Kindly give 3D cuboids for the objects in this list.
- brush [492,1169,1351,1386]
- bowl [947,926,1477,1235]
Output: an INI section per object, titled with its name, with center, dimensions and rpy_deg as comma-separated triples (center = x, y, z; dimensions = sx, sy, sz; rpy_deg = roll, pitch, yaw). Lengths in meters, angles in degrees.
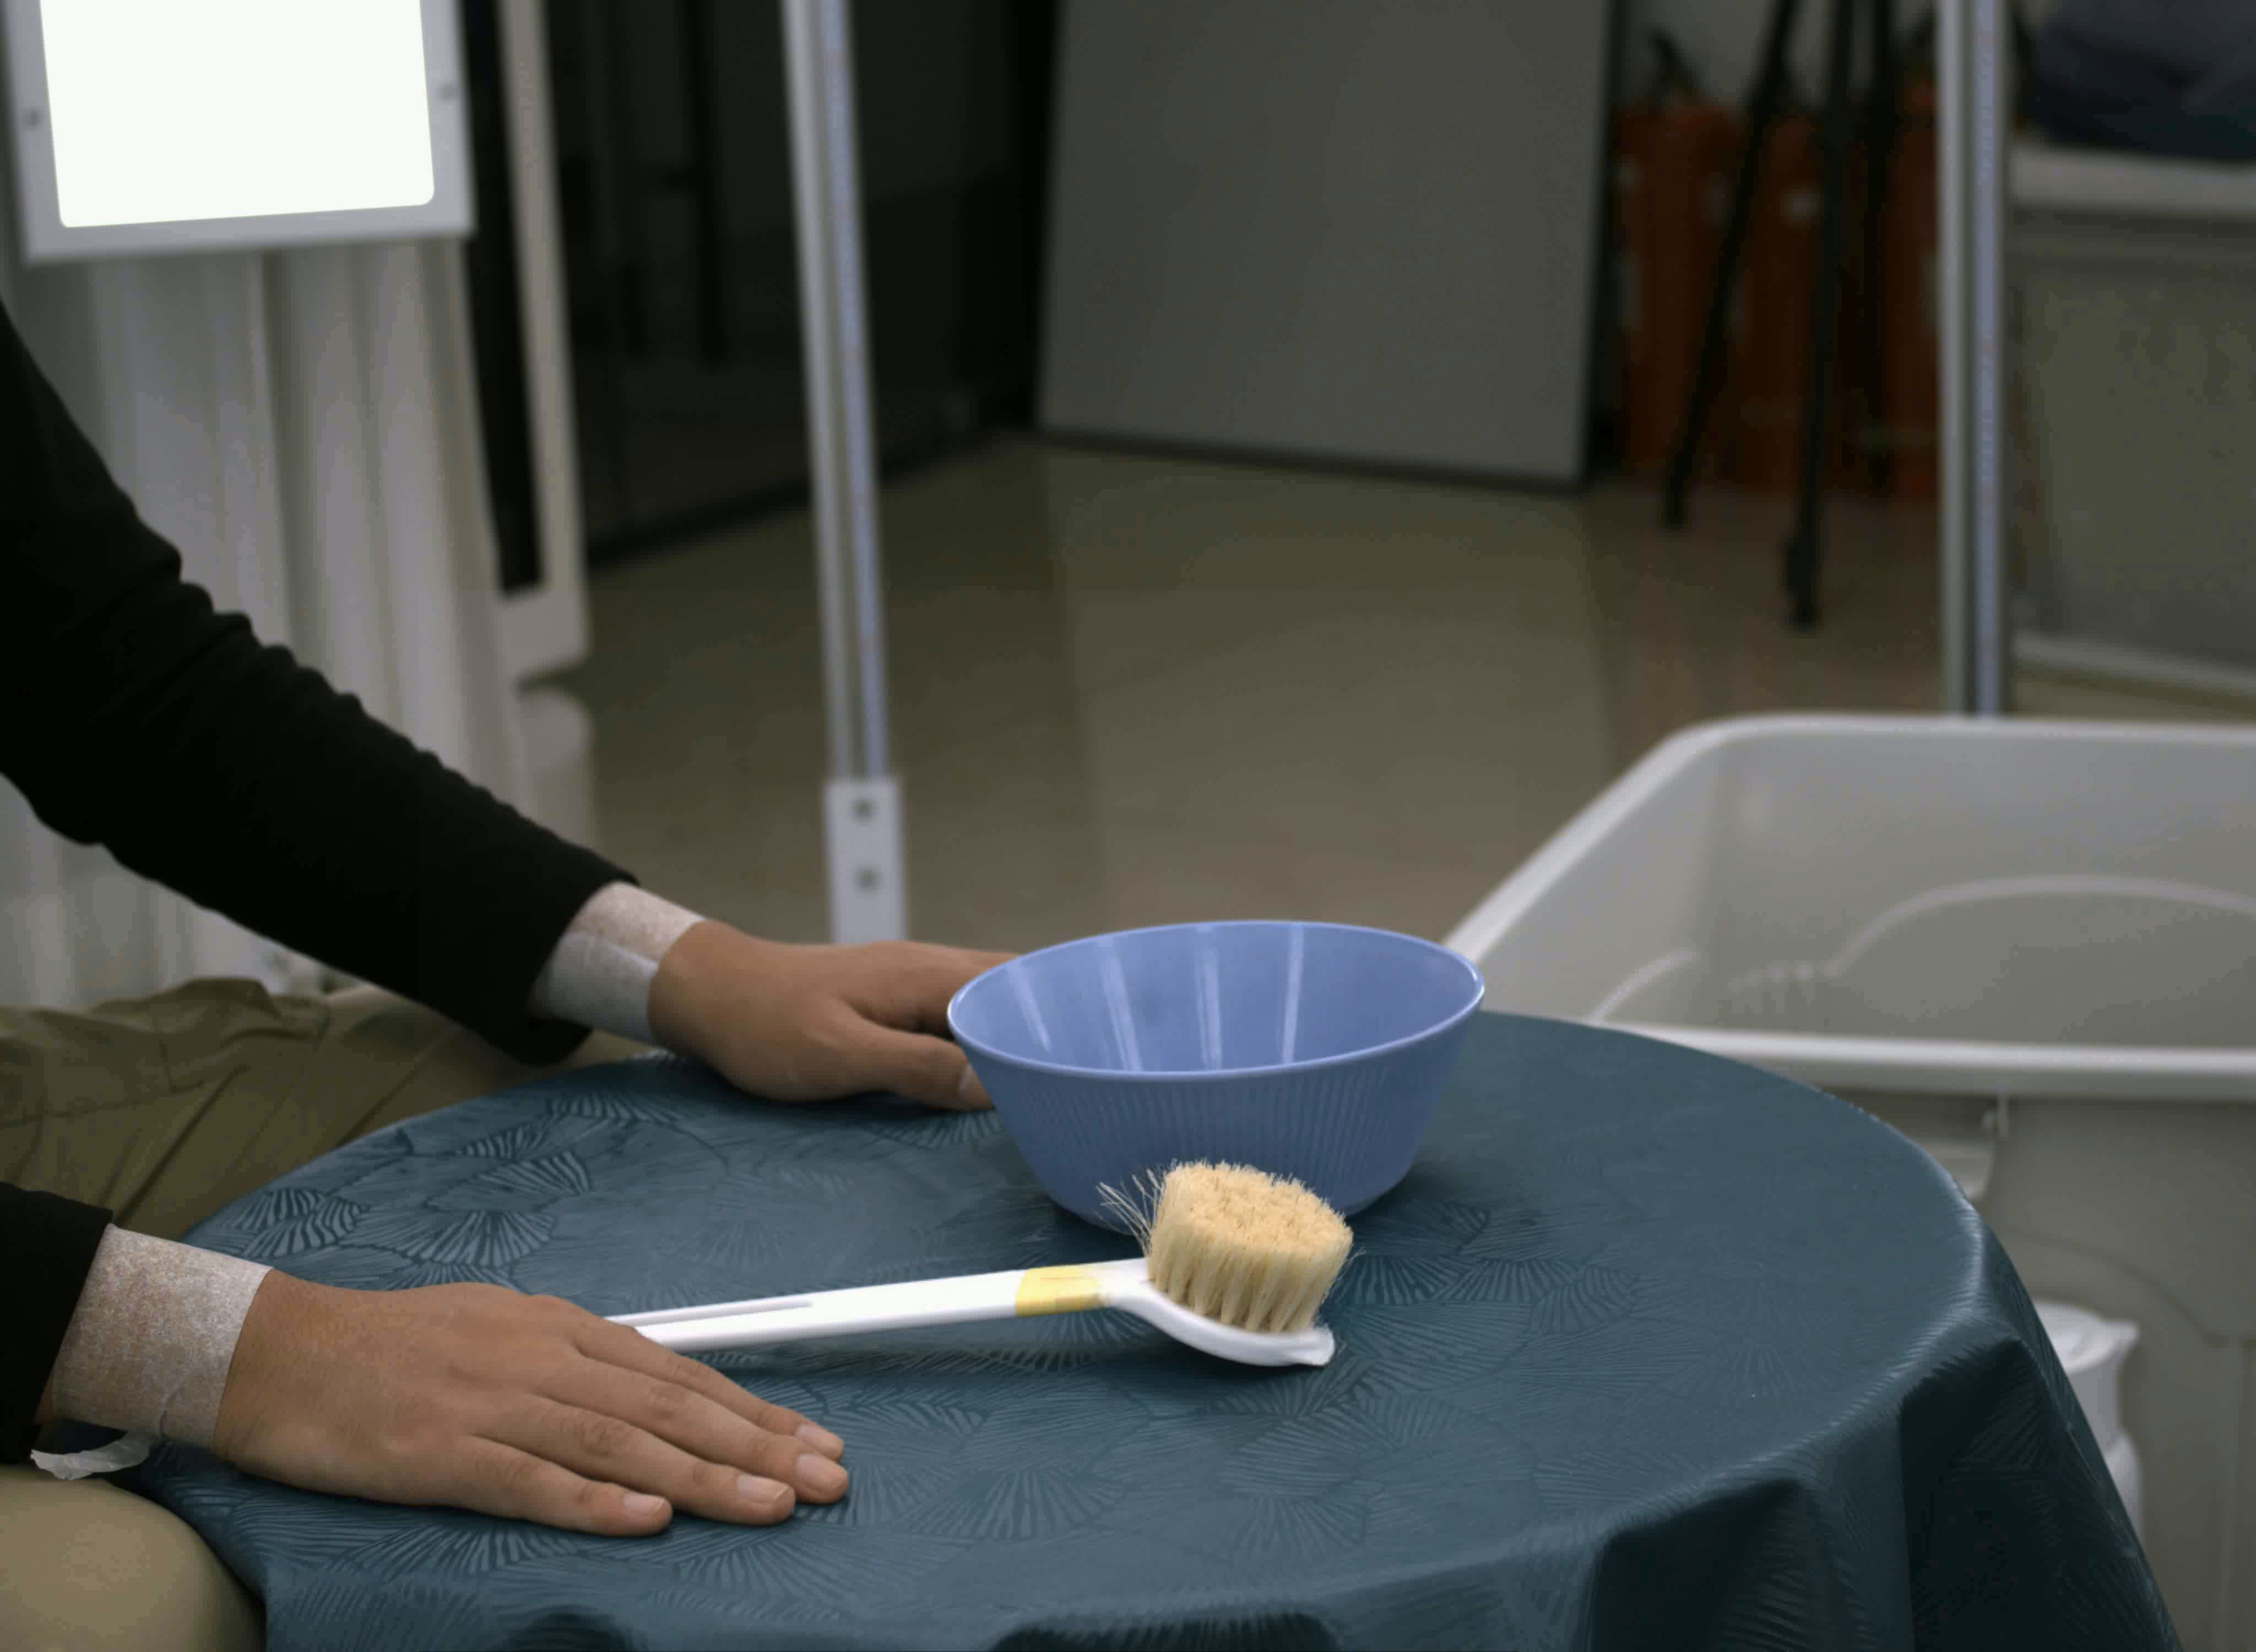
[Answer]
[brush]
center = -0.064, 0.136, 1.615
dimensions = 0.264, 0.057, 0.068
rpy_deg = -2, 9, 11
[bowl]
center = 0.030, 0.085, 1.754
dimensions = 0.174, 0.071, 0.176
rpy_deg = -5, 13, 0
